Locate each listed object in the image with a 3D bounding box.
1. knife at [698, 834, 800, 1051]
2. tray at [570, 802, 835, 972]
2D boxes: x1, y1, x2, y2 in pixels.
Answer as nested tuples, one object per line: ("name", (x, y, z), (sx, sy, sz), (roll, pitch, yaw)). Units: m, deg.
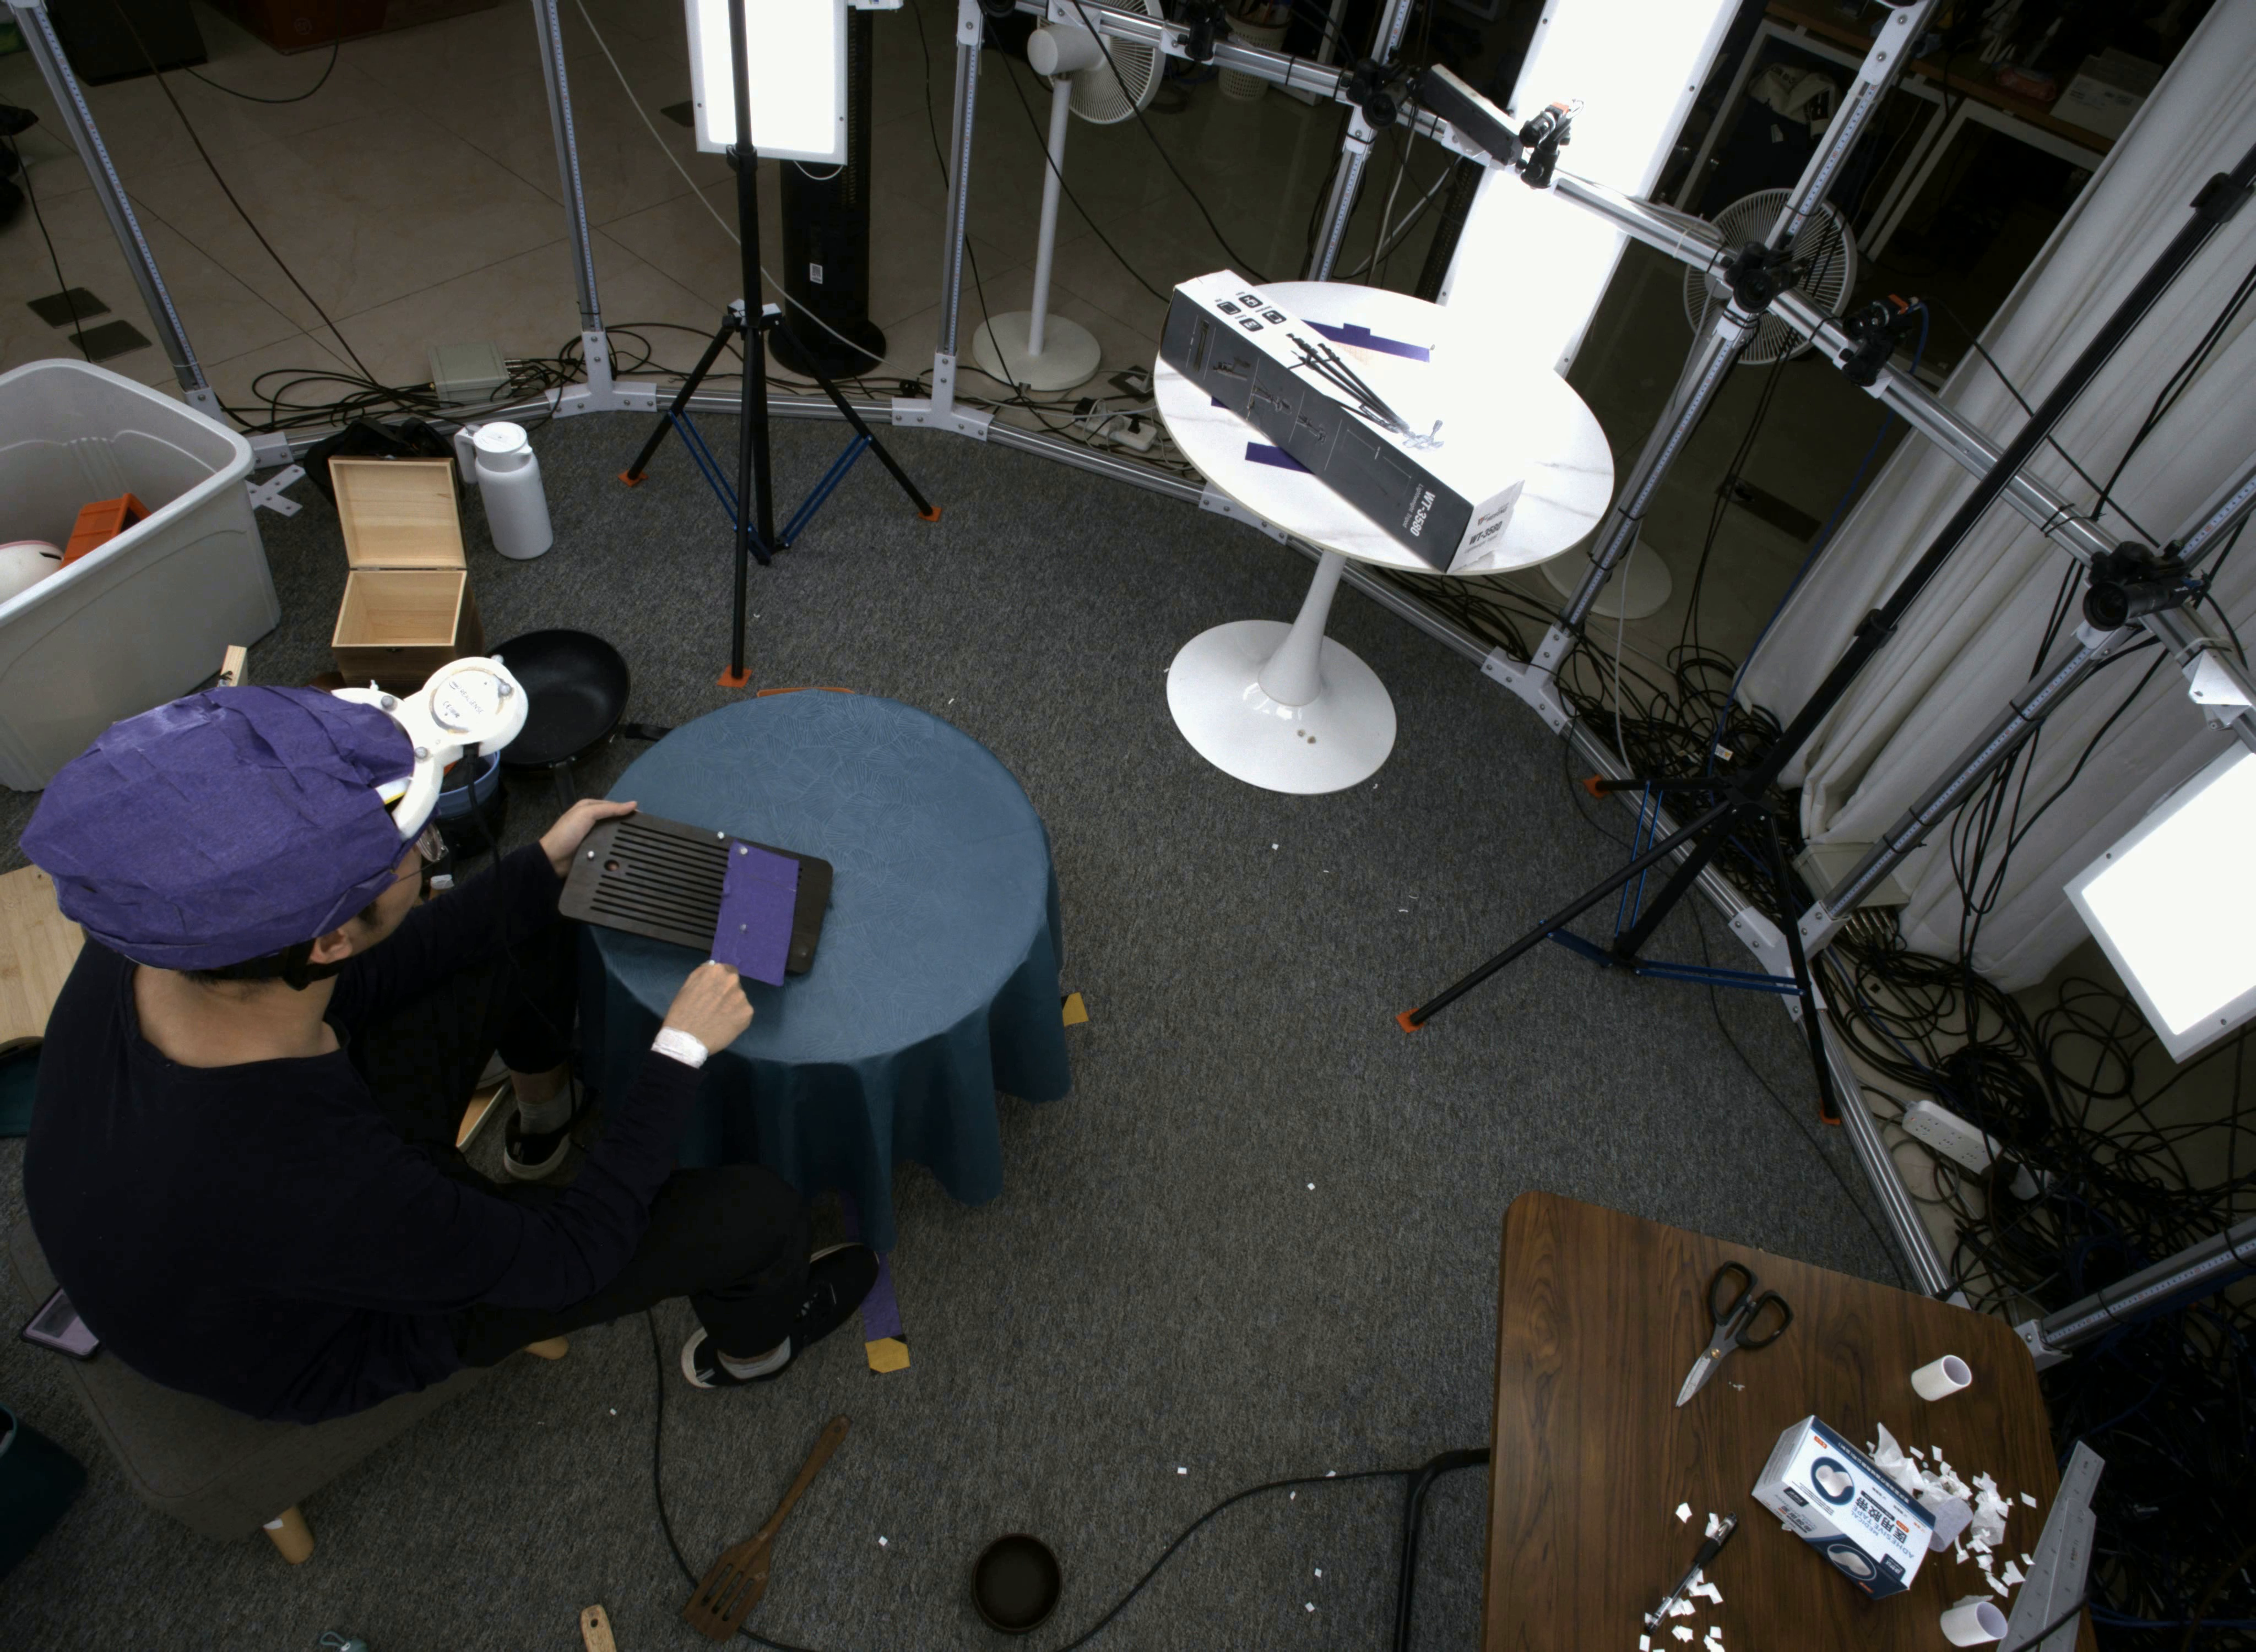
("knife", (-0.447, 0.133, 1.540), (0.106, 0.032, 0.308), (20, 42, -26))
("tray", (-0.528, 0.075, 1.603), (0.309, 0.019, 0.167), (16, 53, -17))
